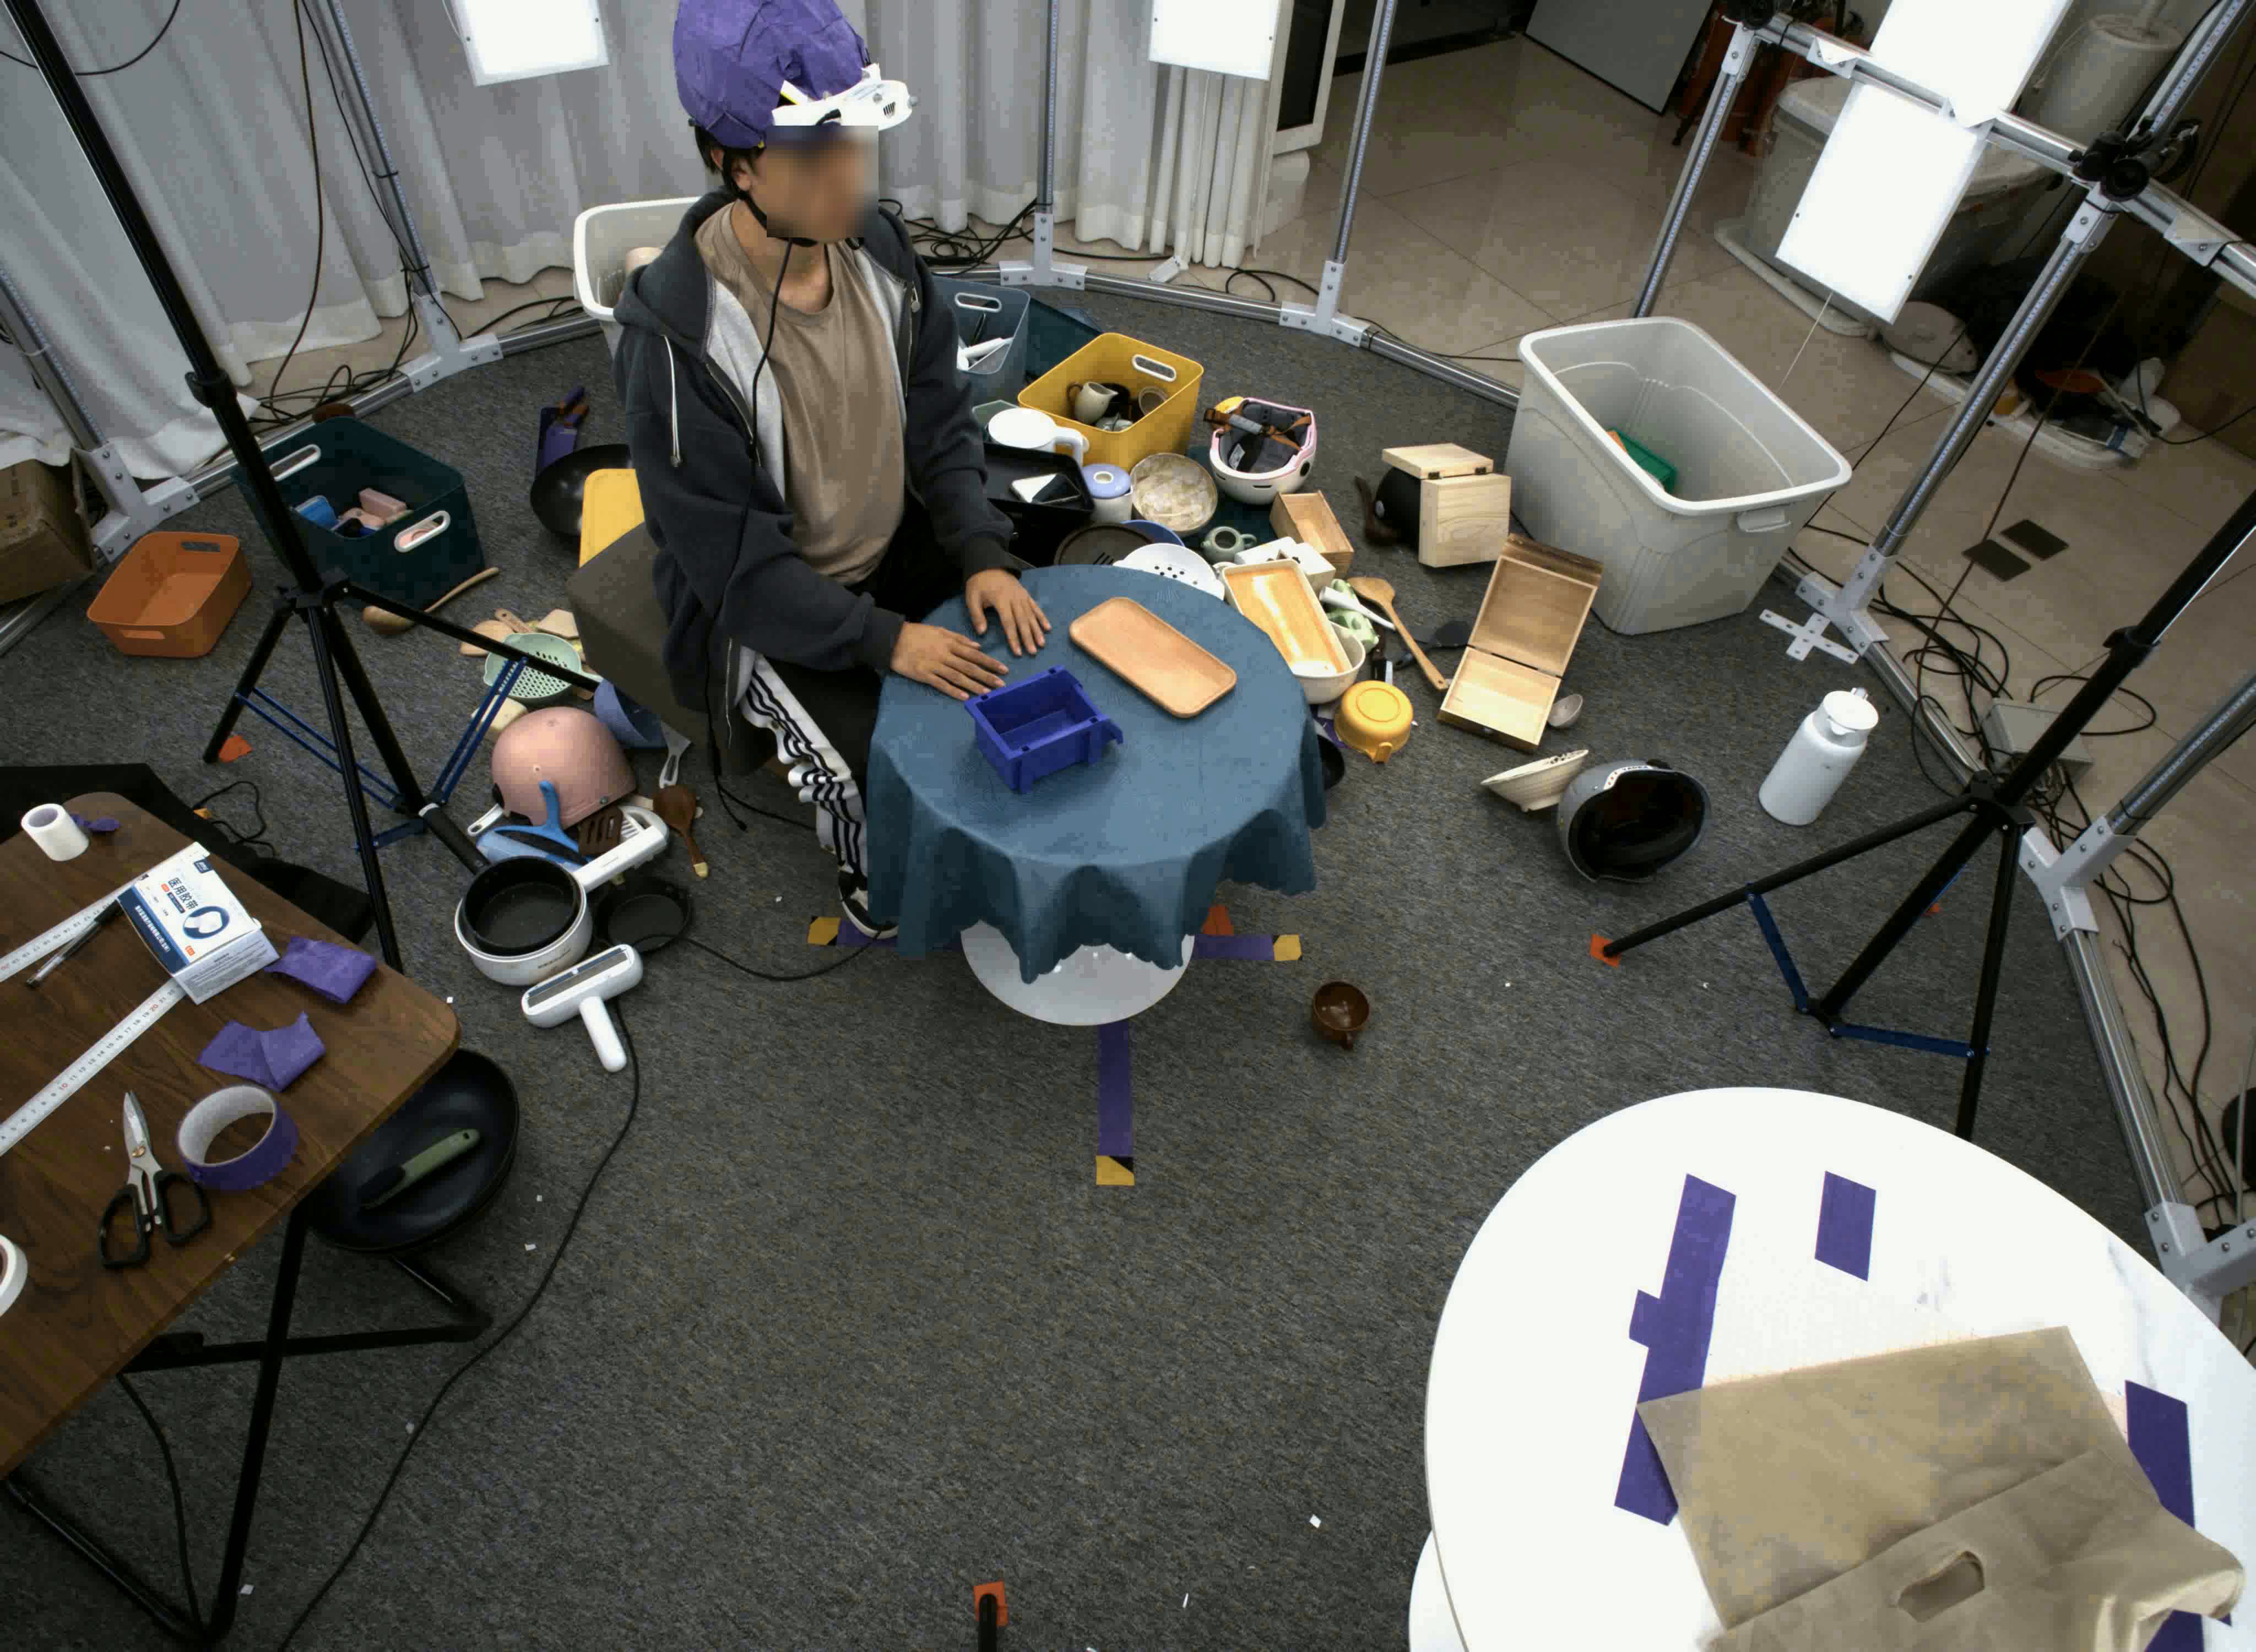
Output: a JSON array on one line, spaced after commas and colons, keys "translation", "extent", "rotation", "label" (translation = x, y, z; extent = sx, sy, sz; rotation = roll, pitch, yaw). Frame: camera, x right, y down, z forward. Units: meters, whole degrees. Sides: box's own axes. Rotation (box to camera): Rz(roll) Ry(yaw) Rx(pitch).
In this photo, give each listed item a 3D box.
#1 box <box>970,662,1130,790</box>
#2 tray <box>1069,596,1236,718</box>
[{"translation": [-0.104, -0.139, 1.727], "extent": [0.180, 0.080, 0.127], "rotation": [-24, 54, -19], "label": "box"}, {"translation": [0.034, -0.248, 1.873], "extent": [0.131, 0.022, 0.254], "rotation": [-34, 58, -31], "label": "tray"}]
